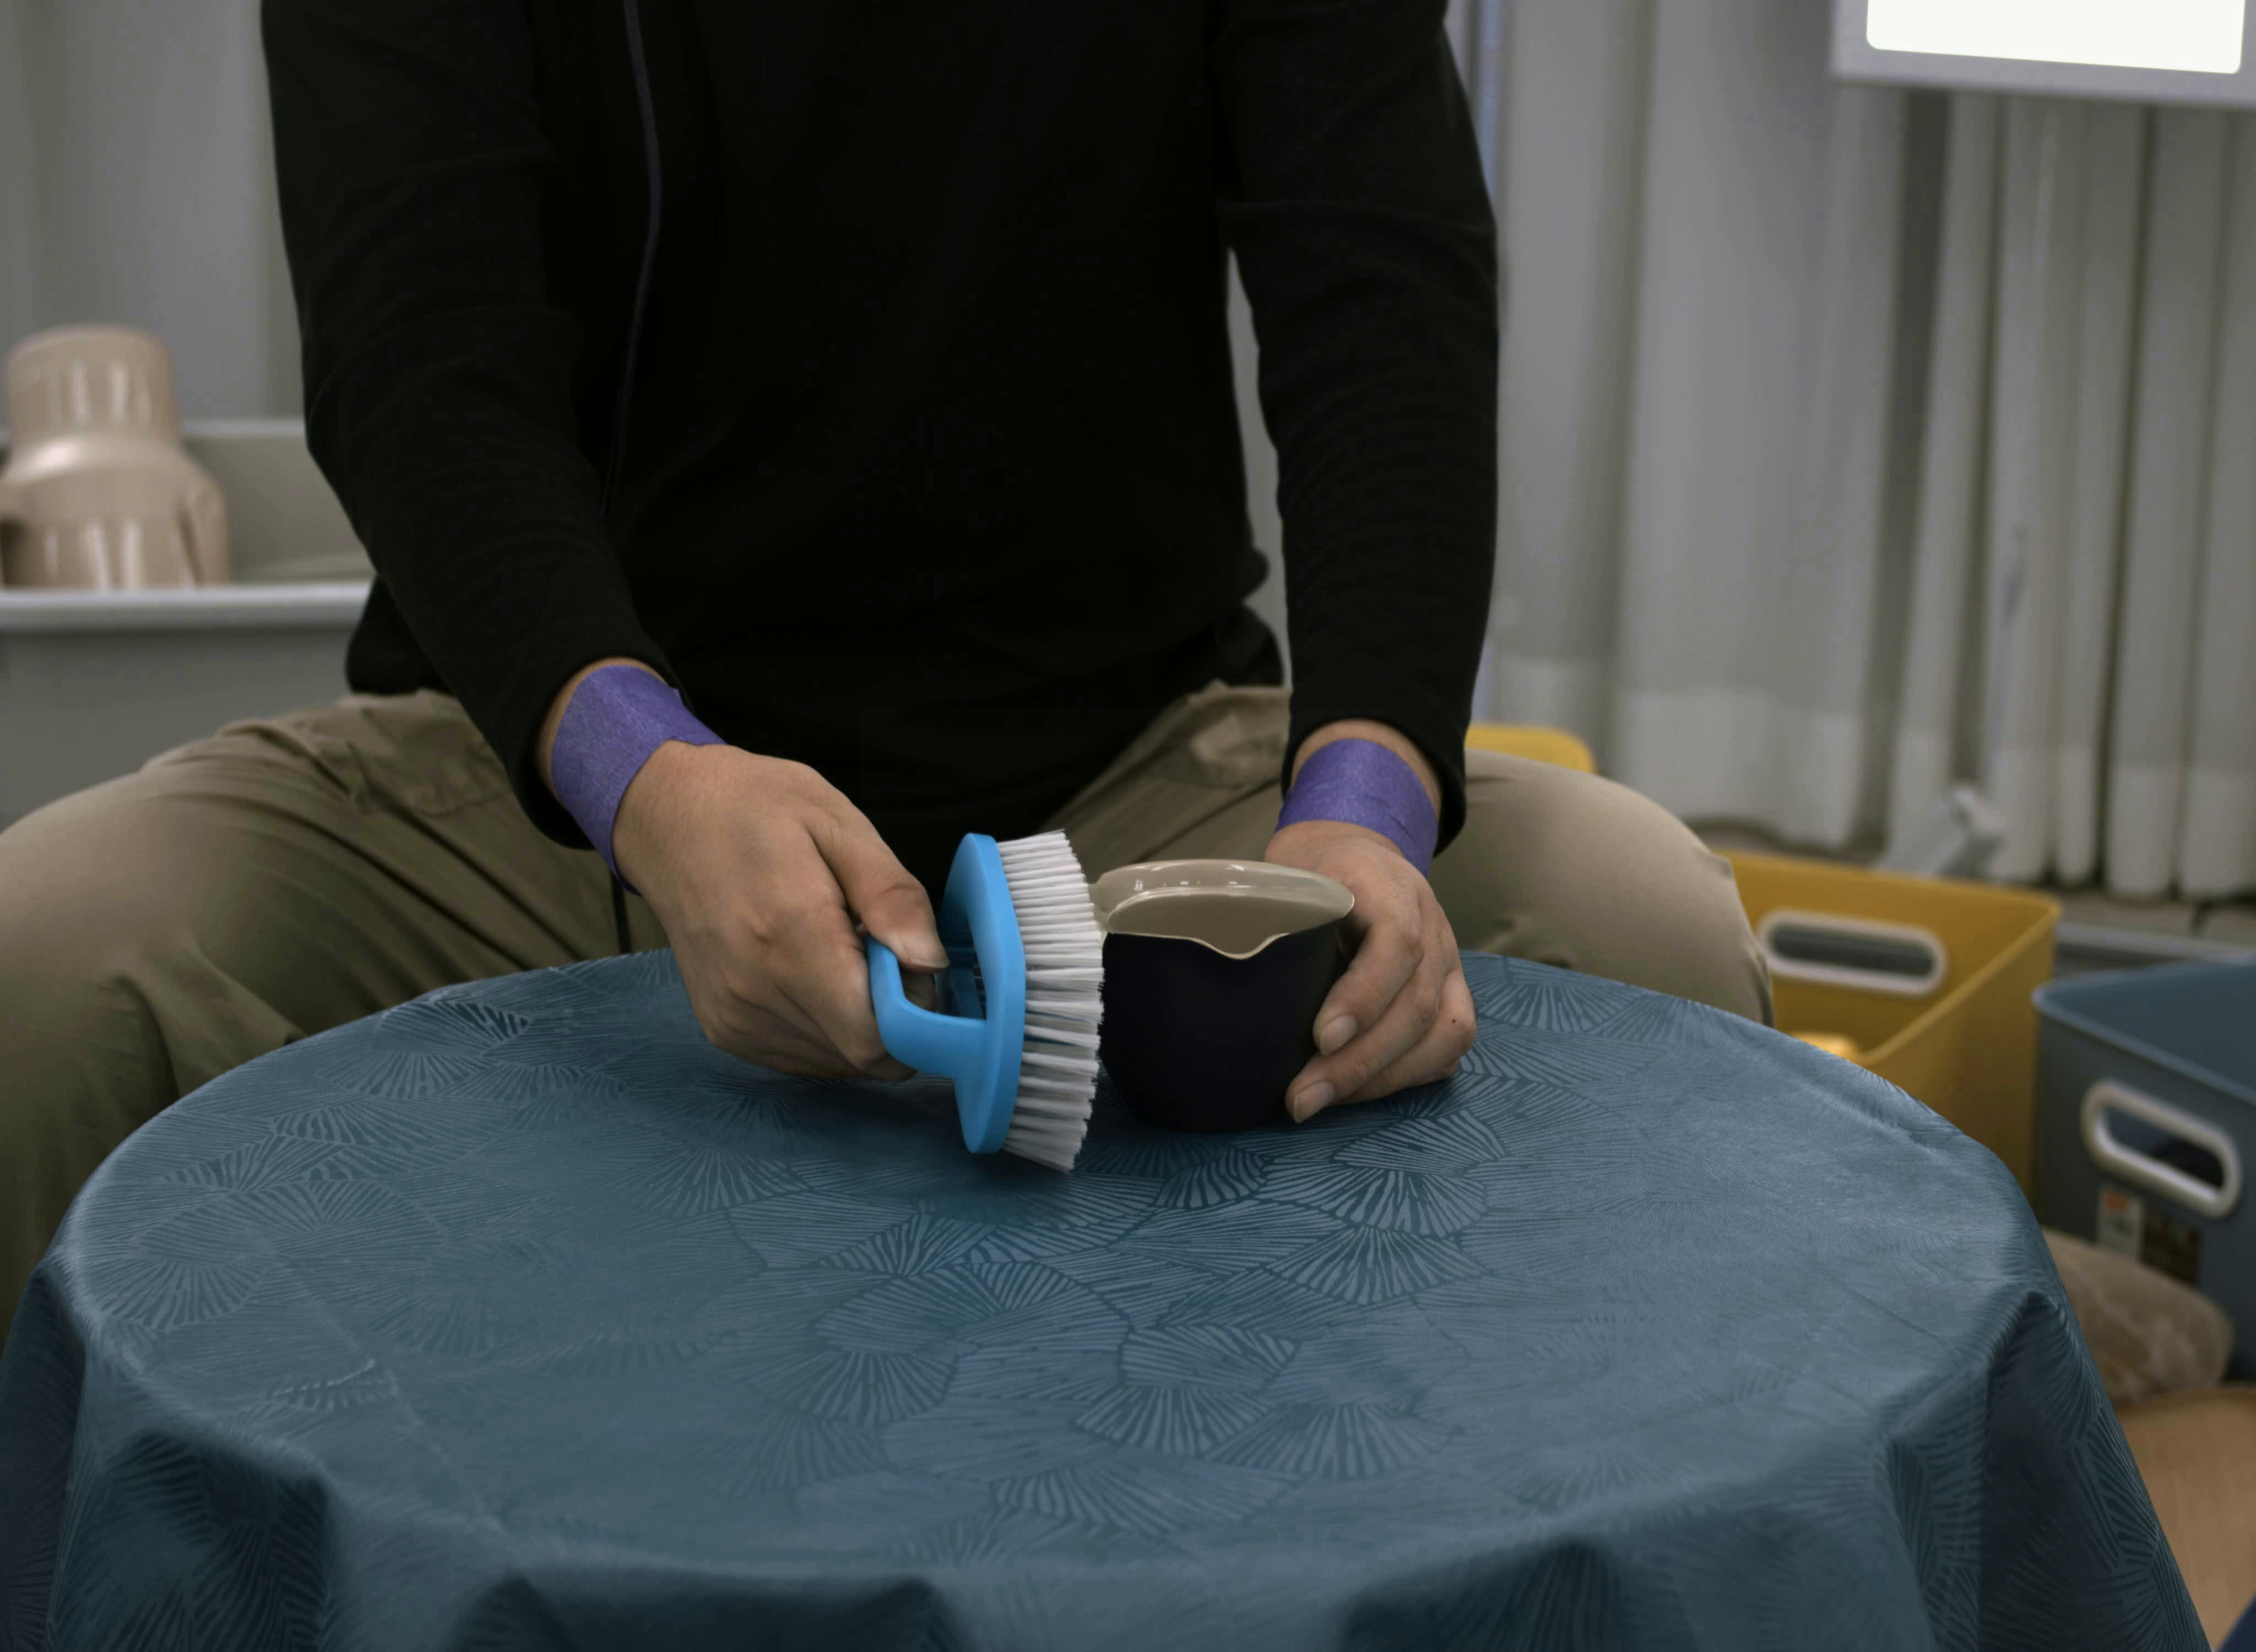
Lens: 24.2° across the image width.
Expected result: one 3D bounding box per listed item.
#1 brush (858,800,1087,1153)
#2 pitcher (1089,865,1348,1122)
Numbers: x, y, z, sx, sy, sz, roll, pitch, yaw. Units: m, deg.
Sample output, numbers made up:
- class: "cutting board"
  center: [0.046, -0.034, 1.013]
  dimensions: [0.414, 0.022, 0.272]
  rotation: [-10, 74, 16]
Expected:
- class: "brush"
  center: [-0.052, 0.047, 1.663]
  dimensions: [0.064, 0.085, 0.140]
  rotation: [3, 27, -10]
- class: "pitcher"
  center: [0.029, 0.055, 1.688]
  dimensions: [0.083, 0.072, 0.095]
  rotation: [1, 17, -4]
